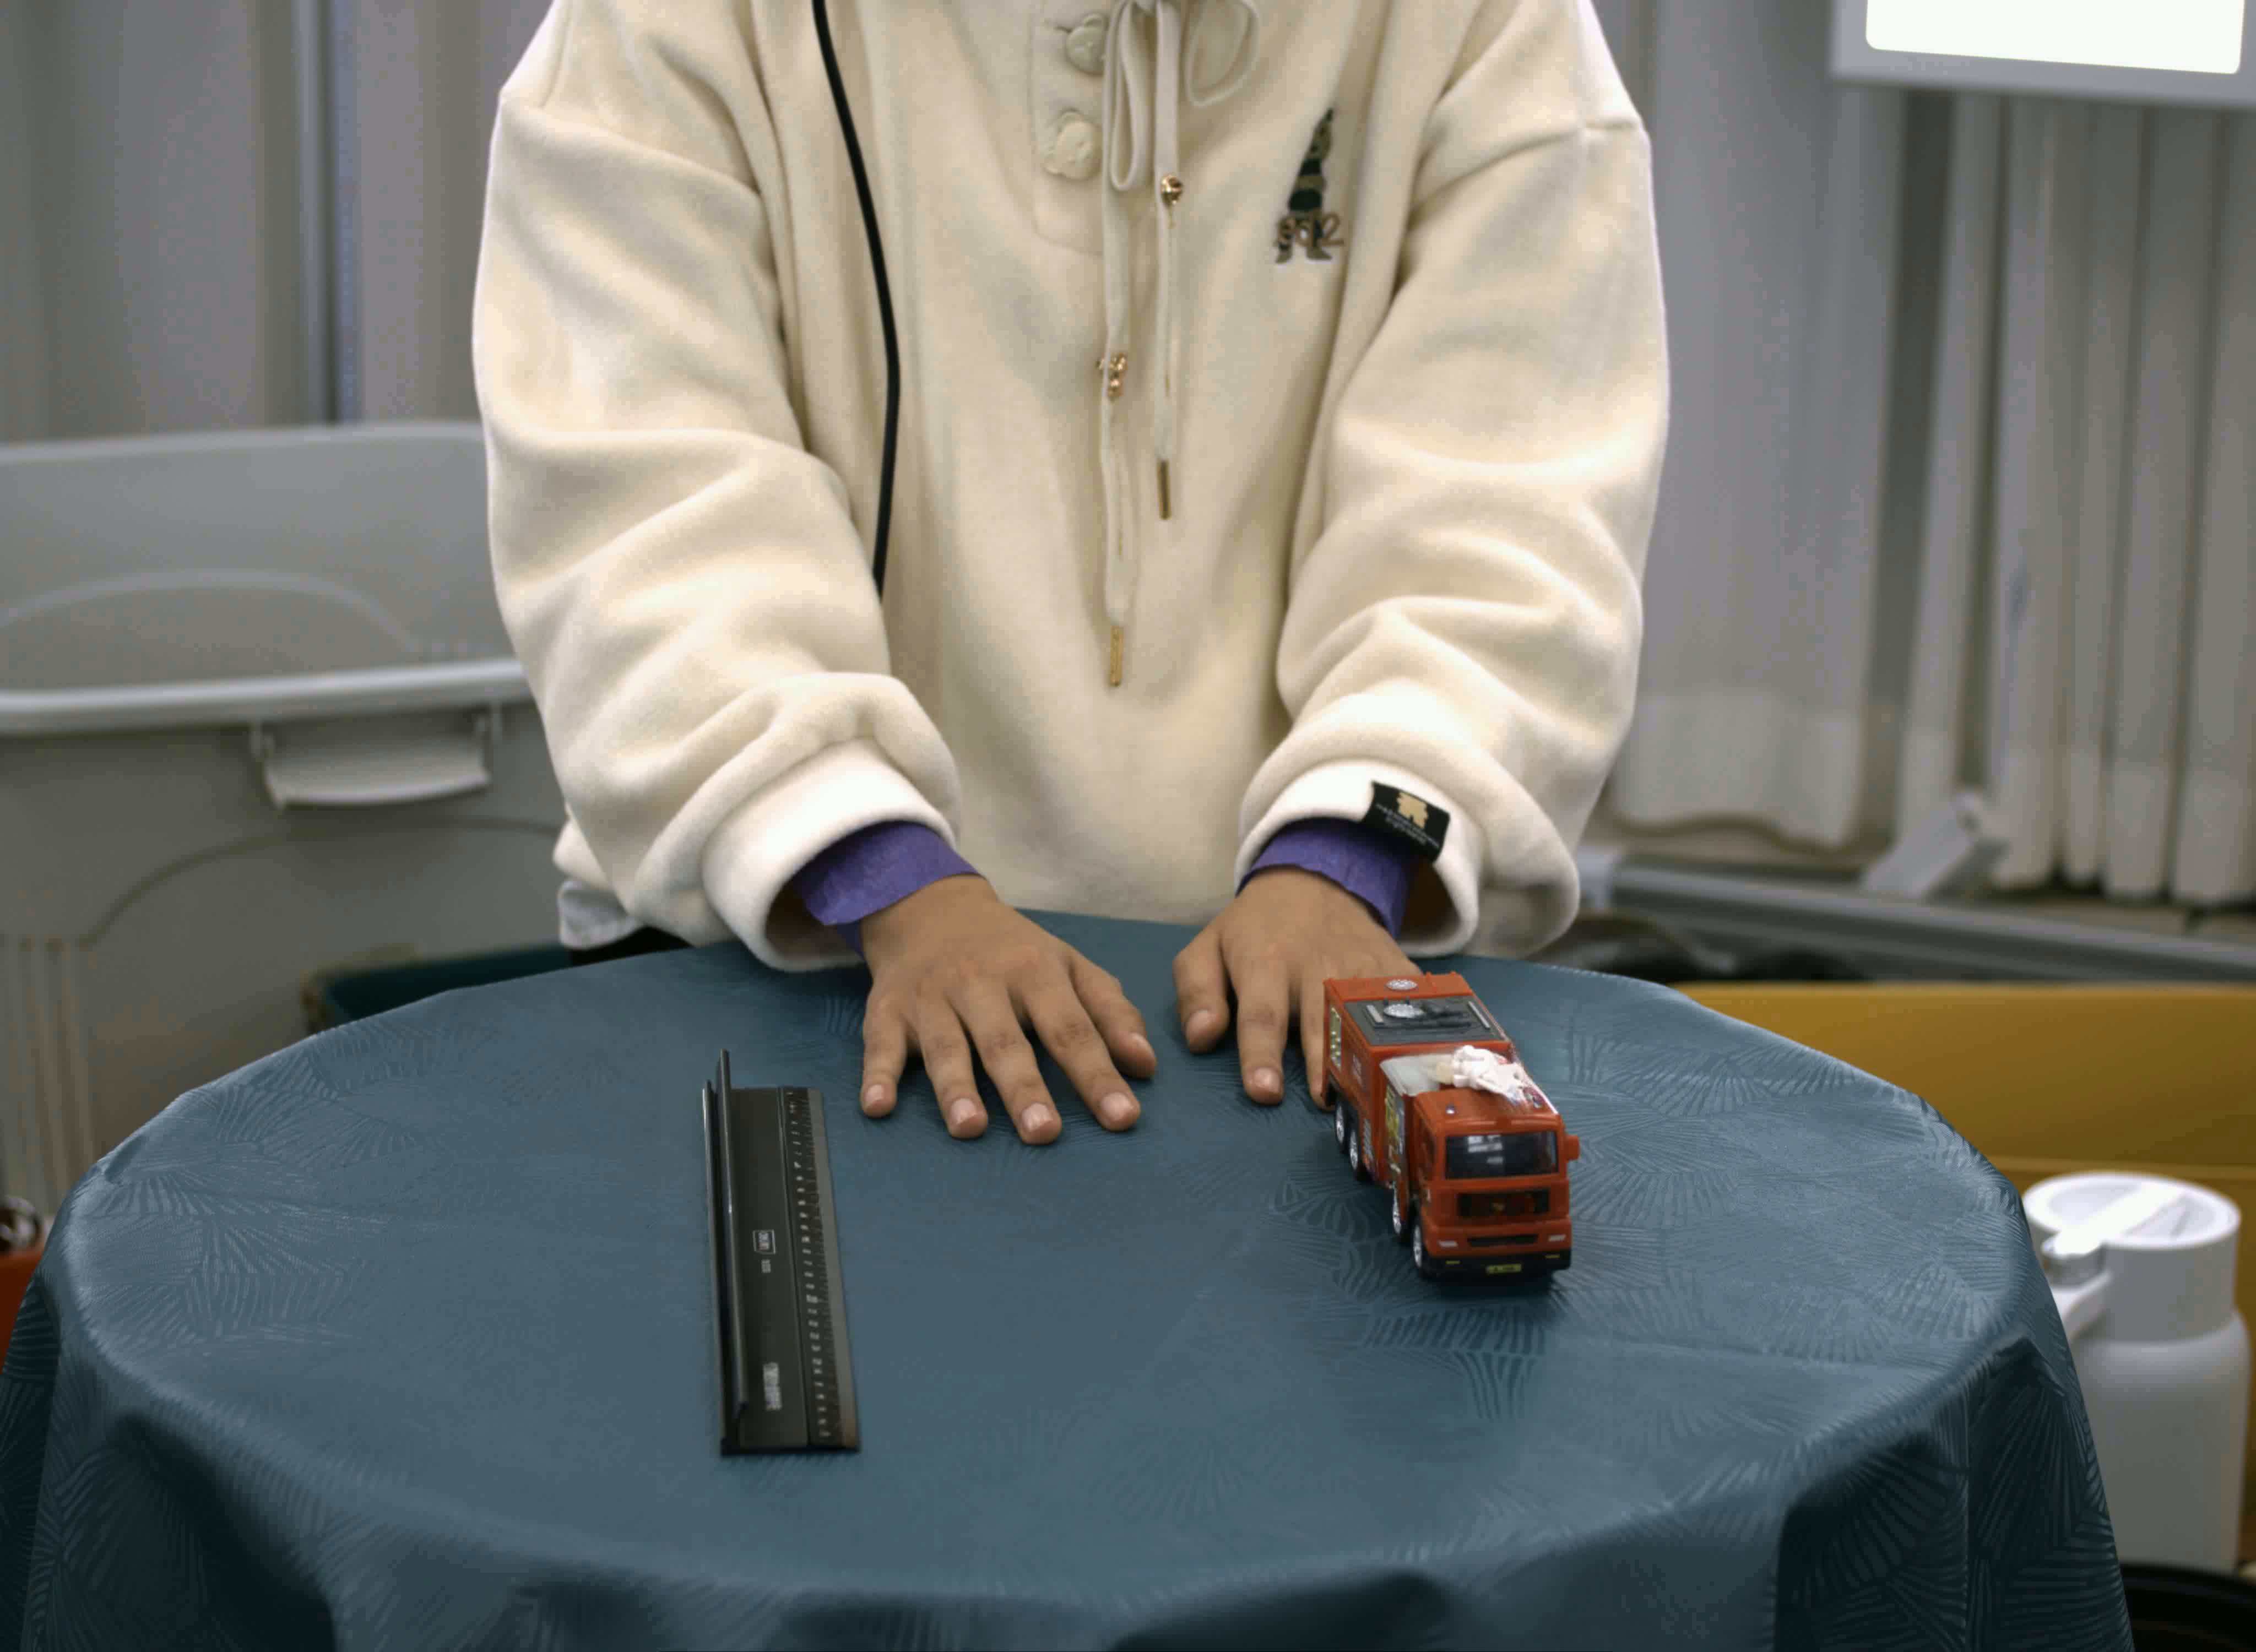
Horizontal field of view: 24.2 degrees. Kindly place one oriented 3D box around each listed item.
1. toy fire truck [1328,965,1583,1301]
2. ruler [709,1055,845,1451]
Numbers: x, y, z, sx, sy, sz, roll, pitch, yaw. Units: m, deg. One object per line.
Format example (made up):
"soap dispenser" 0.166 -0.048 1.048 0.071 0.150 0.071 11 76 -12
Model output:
"toy fire truck" 0.098 0.090 1.598 0.054 0.071 0.166 -4 14 -8
"ruler" -0.104 0.121 1.557 0.039 0.017 0.310 3 15 -5
